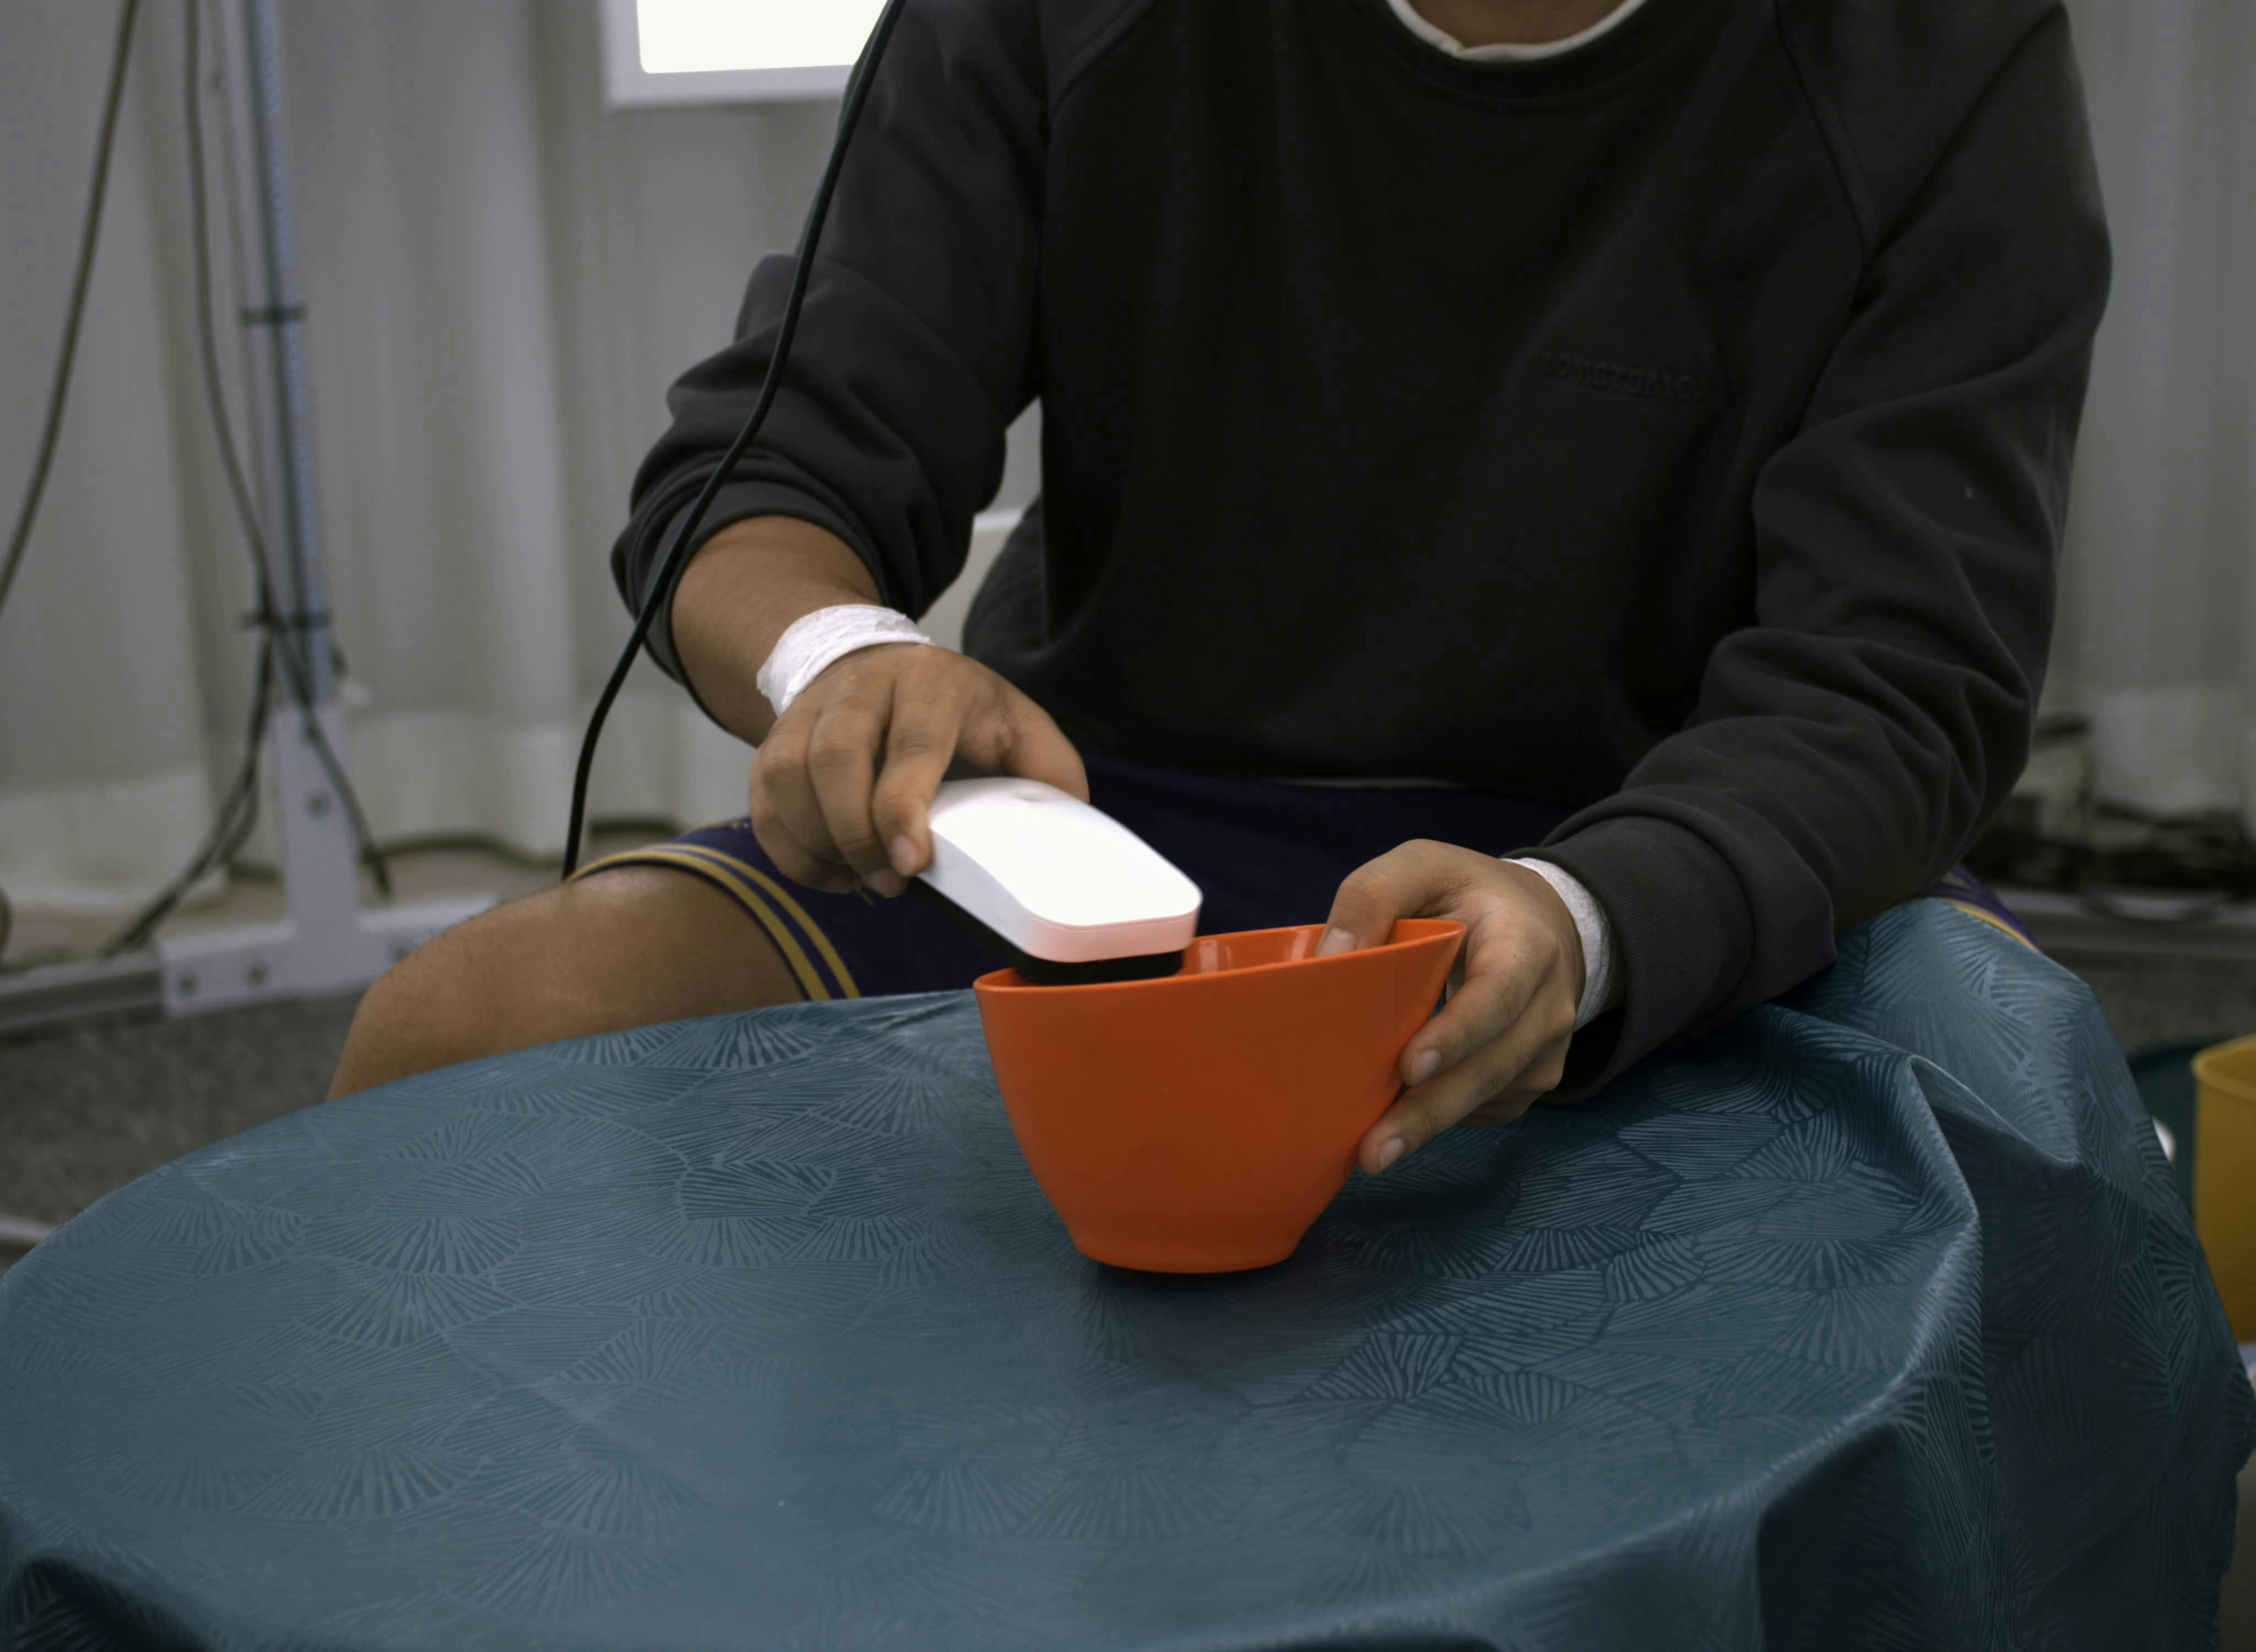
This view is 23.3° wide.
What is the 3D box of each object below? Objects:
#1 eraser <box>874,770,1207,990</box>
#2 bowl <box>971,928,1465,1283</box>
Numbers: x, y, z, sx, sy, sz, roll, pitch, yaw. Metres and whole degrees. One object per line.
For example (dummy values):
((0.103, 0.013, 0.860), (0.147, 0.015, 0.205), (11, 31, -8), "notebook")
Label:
((-0.028, 0.012, 1.714), (0.063, 0.034, 0.133), (-4, 23, -29), "eraser")
((0.026, 0.080, 1.635), (0.147, 0.104, 0.148), (1, 8, 0), "bowl")
